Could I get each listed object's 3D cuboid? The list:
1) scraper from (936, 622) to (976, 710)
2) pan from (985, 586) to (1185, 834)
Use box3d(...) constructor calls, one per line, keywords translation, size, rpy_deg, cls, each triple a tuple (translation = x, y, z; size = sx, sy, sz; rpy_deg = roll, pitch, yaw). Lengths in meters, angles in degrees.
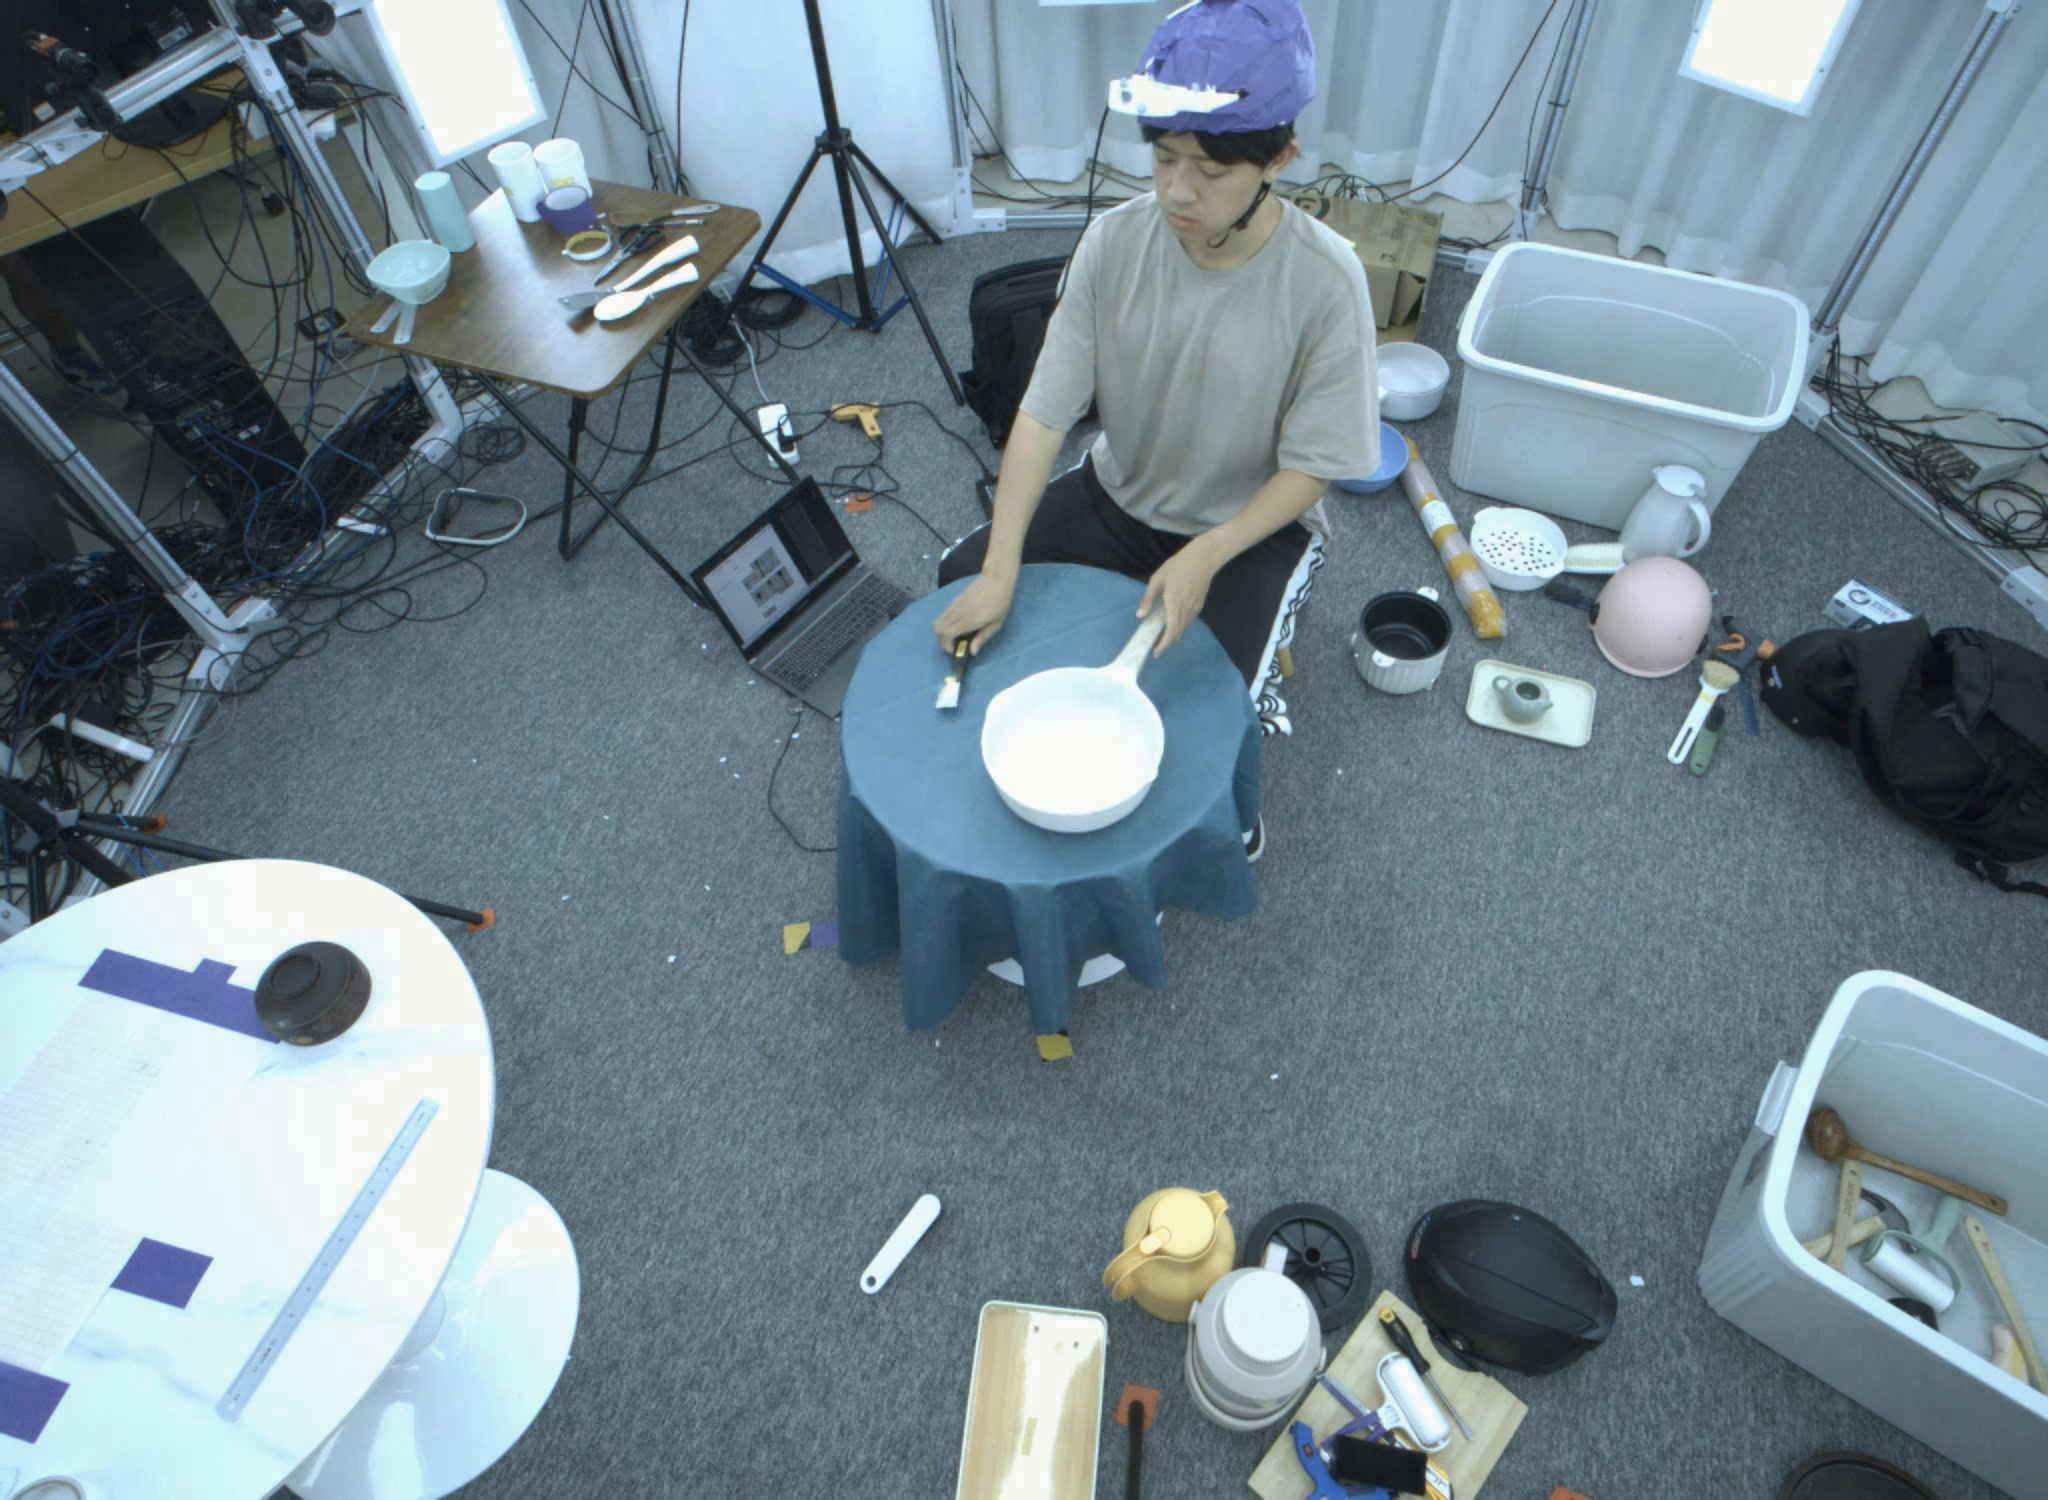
box3d(translation=(-0.101, -0.129, 1.862), size=(0.038, 0.015, 0.170), rpy_deg=(-7, 51, 24), cls="scraper")
box3d(translation=(0.122, -0.060, 1.766), size=(0.259, 0.103, 0.436), rpy_deg=(25, 59, 22), cls="pan")
